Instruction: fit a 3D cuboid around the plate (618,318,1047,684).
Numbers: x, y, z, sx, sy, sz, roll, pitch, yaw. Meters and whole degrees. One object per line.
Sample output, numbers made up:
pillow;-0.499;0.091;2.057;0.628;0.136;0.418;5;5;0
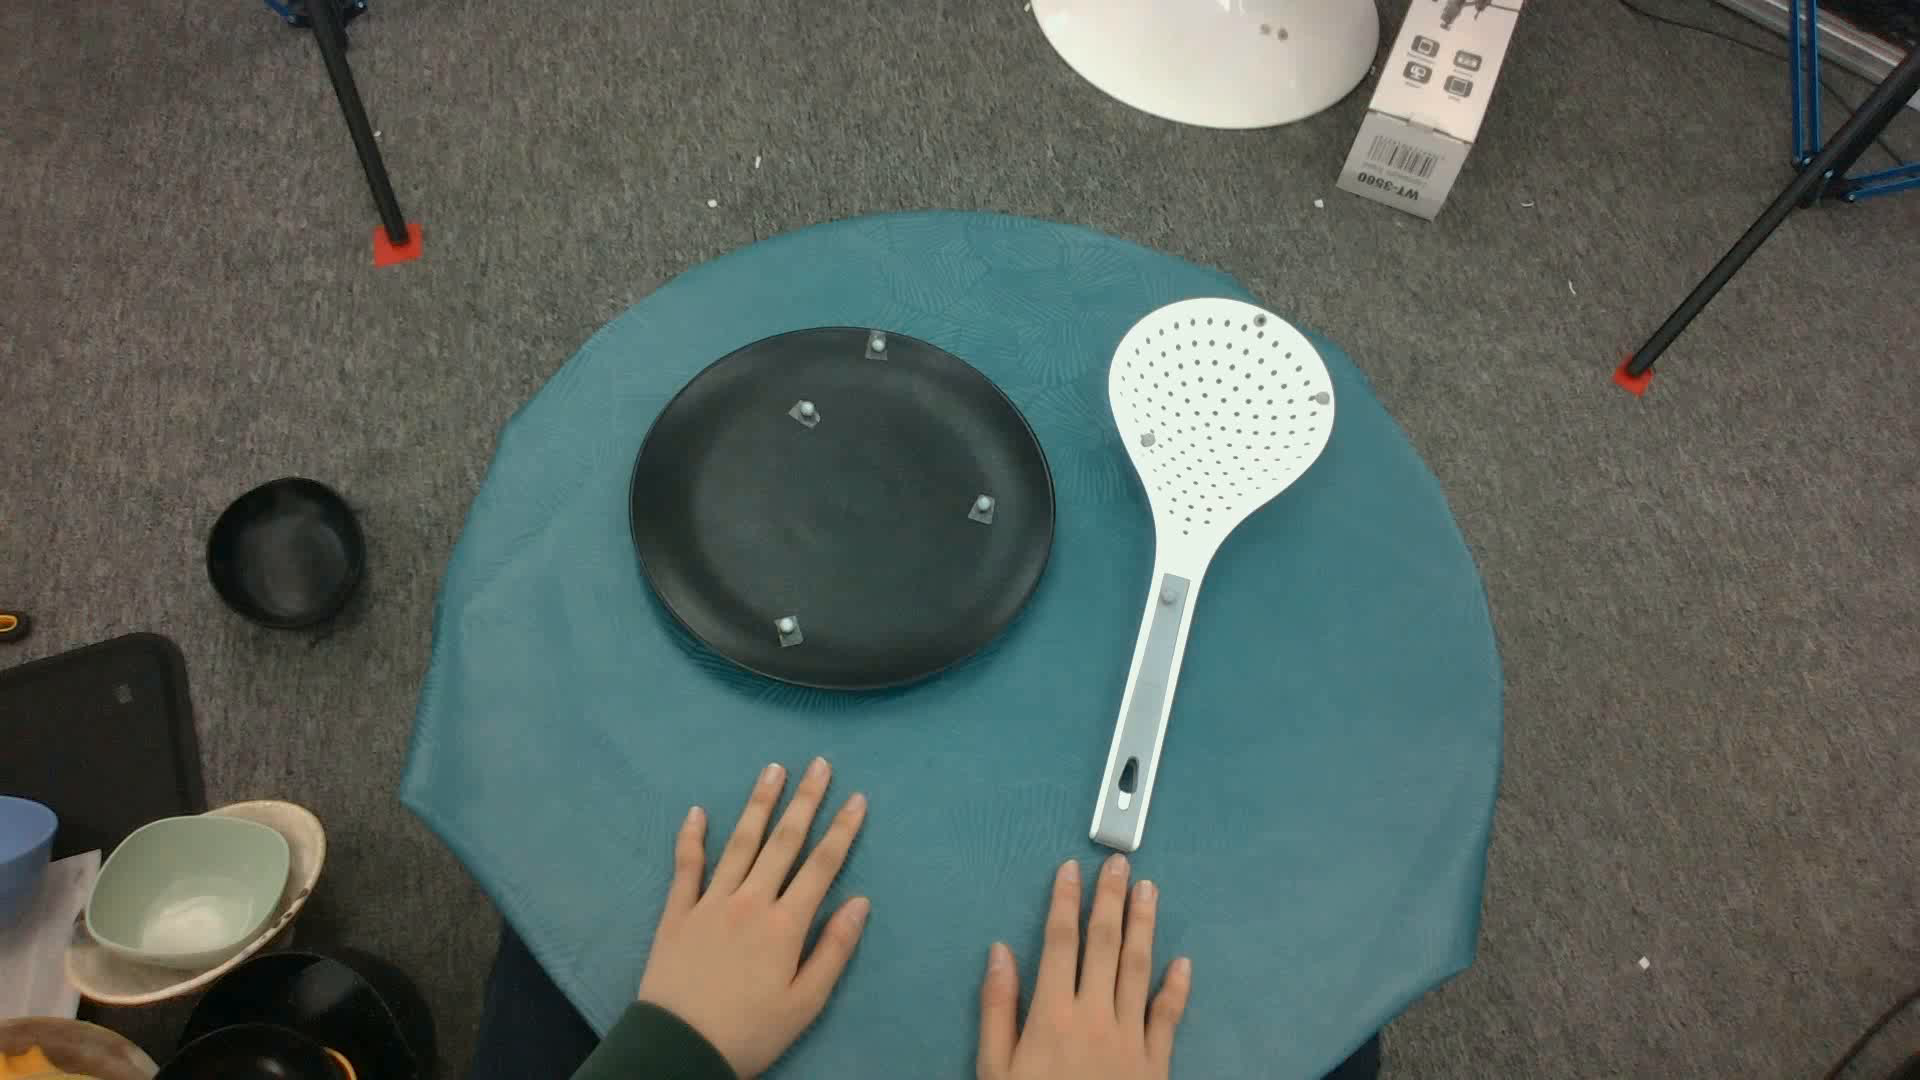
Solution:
plate;-0.072;-0.026;0.794;0.244;0.023;0.245;3;60;-6

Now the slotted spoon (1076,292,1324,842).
slotted spoon;0.122;0.004;0.790;0.136;0.045;0.351;16;60;4
